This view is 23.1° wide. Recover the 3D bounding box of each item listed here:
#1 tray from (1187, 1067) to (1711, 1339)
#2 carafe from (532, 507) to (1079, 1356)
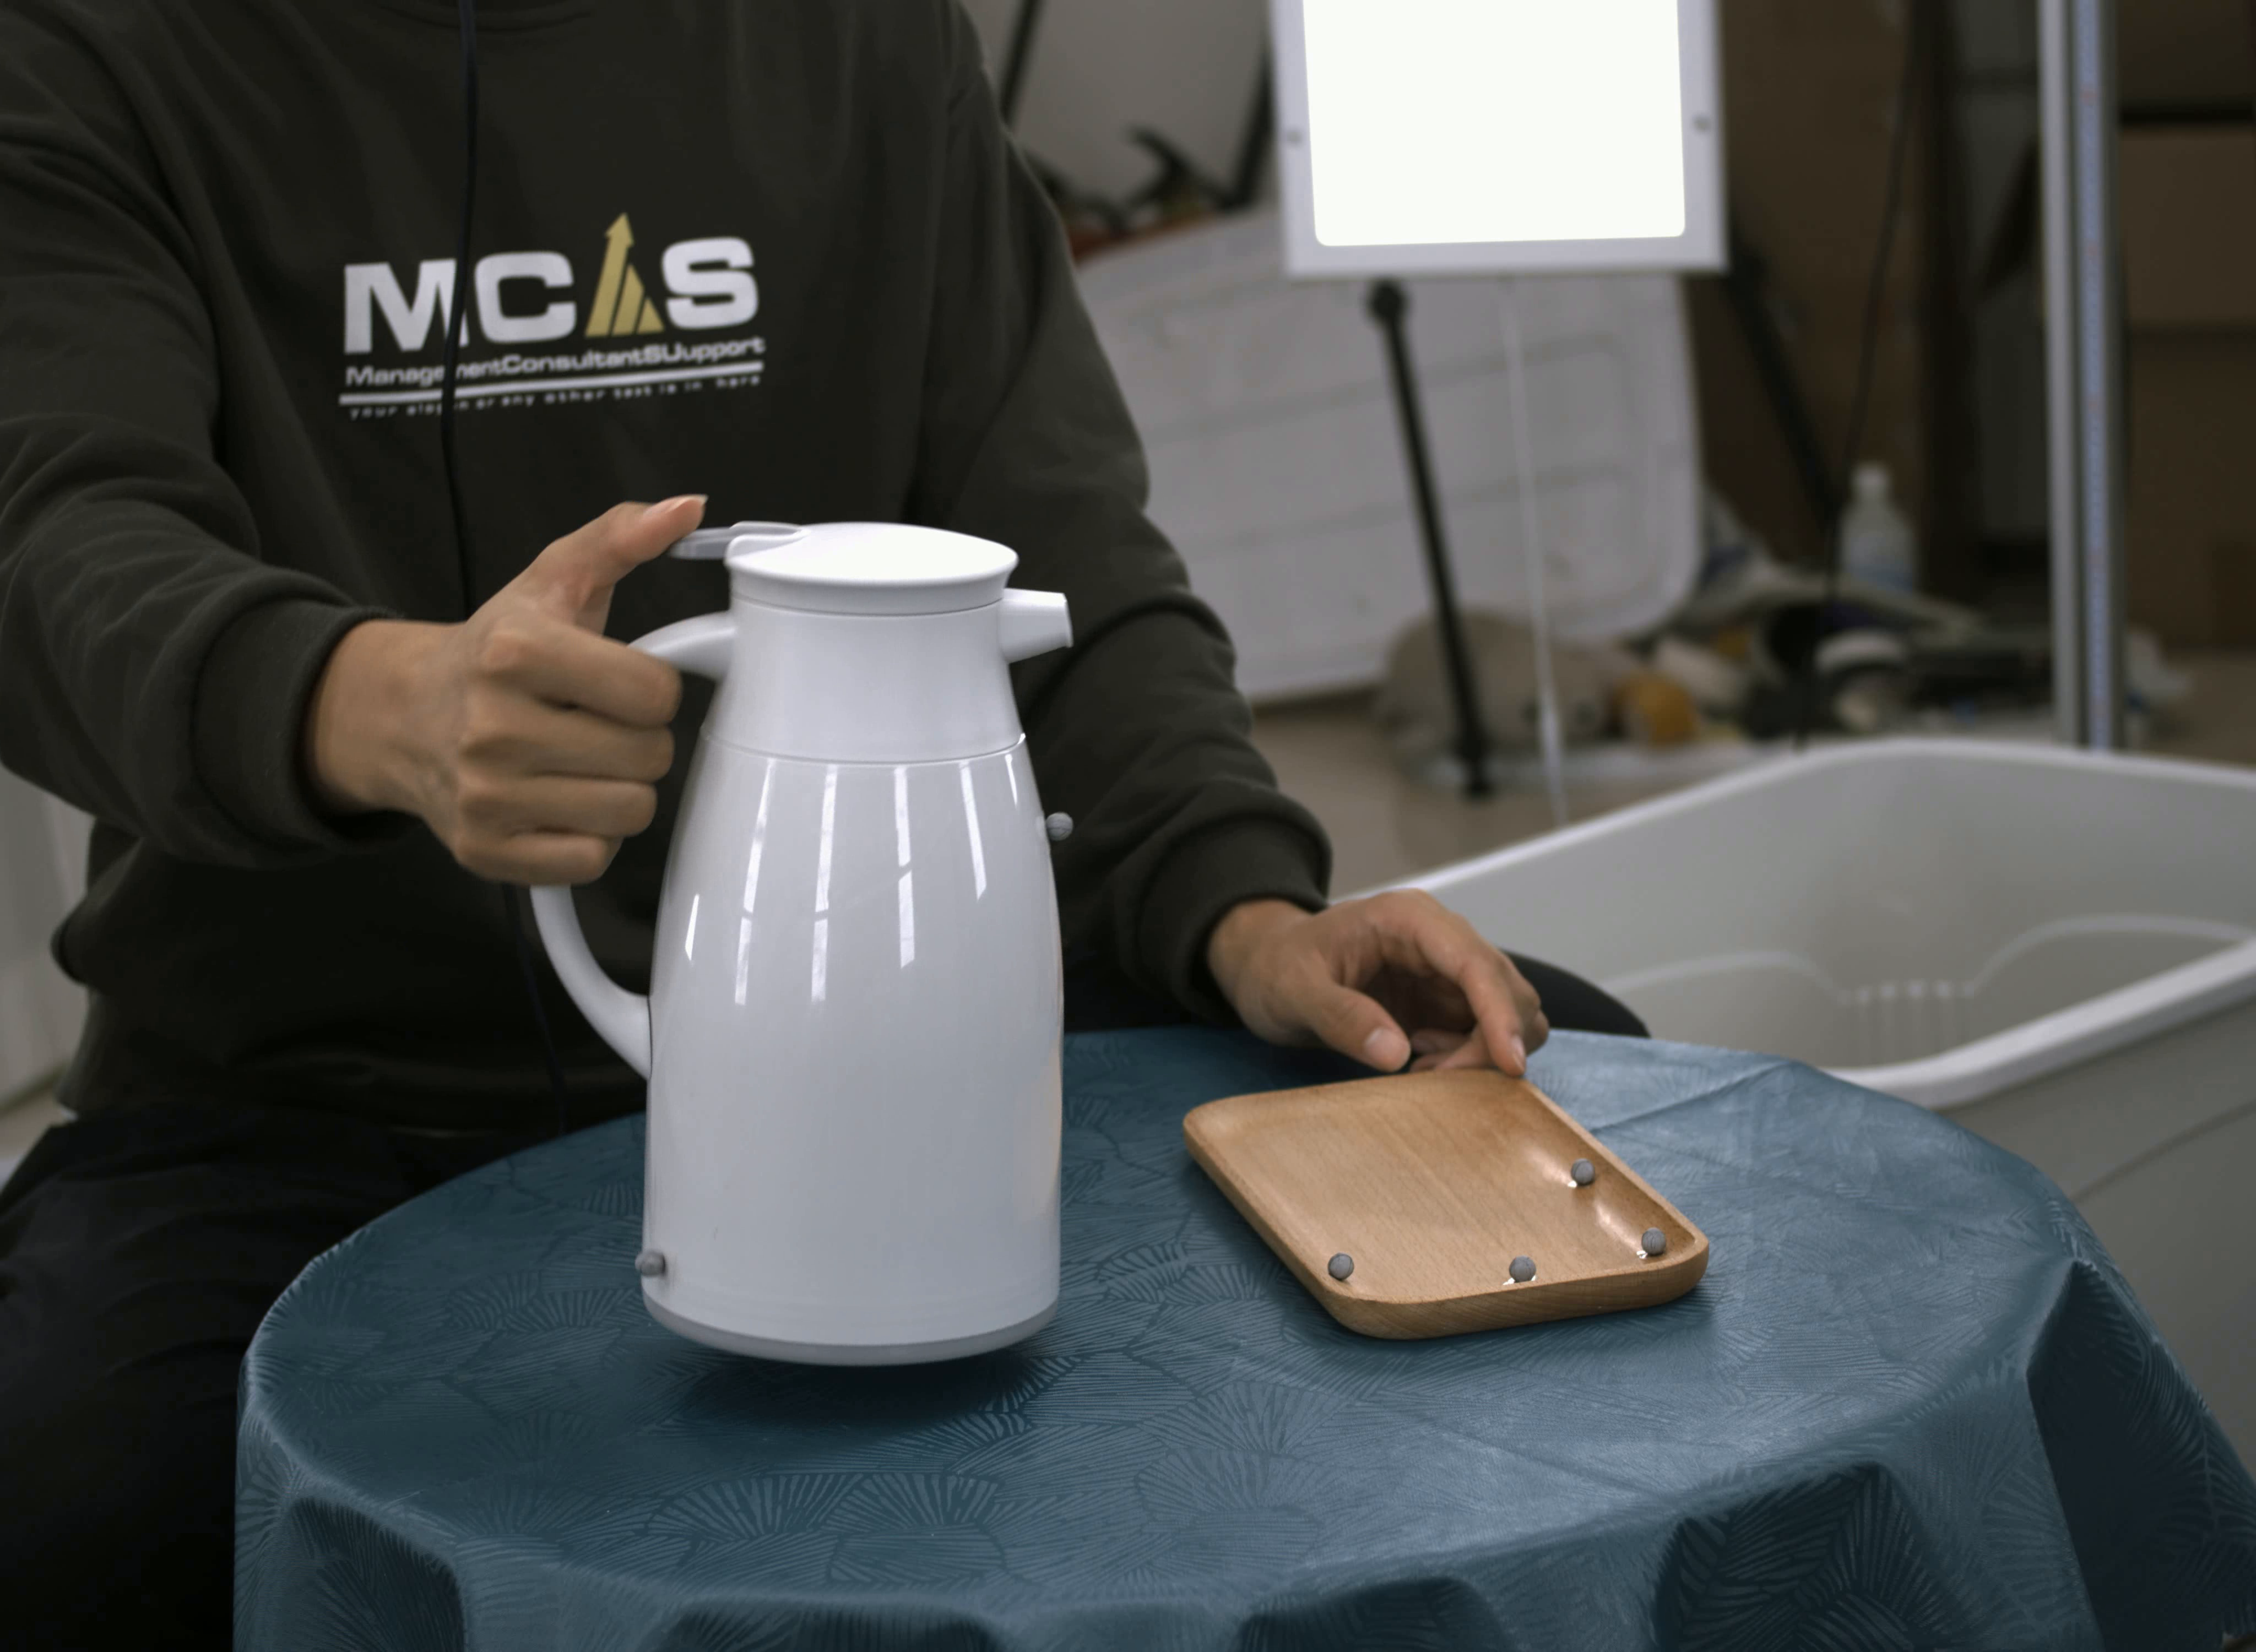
[{"bbox_3d":[0.104,0.124,1.841,0.129,0.023,0.252,-5,12,-10],"label":"tray"},{"bbox_3d":[-0.101,0.026,1.709,0.166,0.250,0.133,1,13,-6],"label":"carafe"}]
